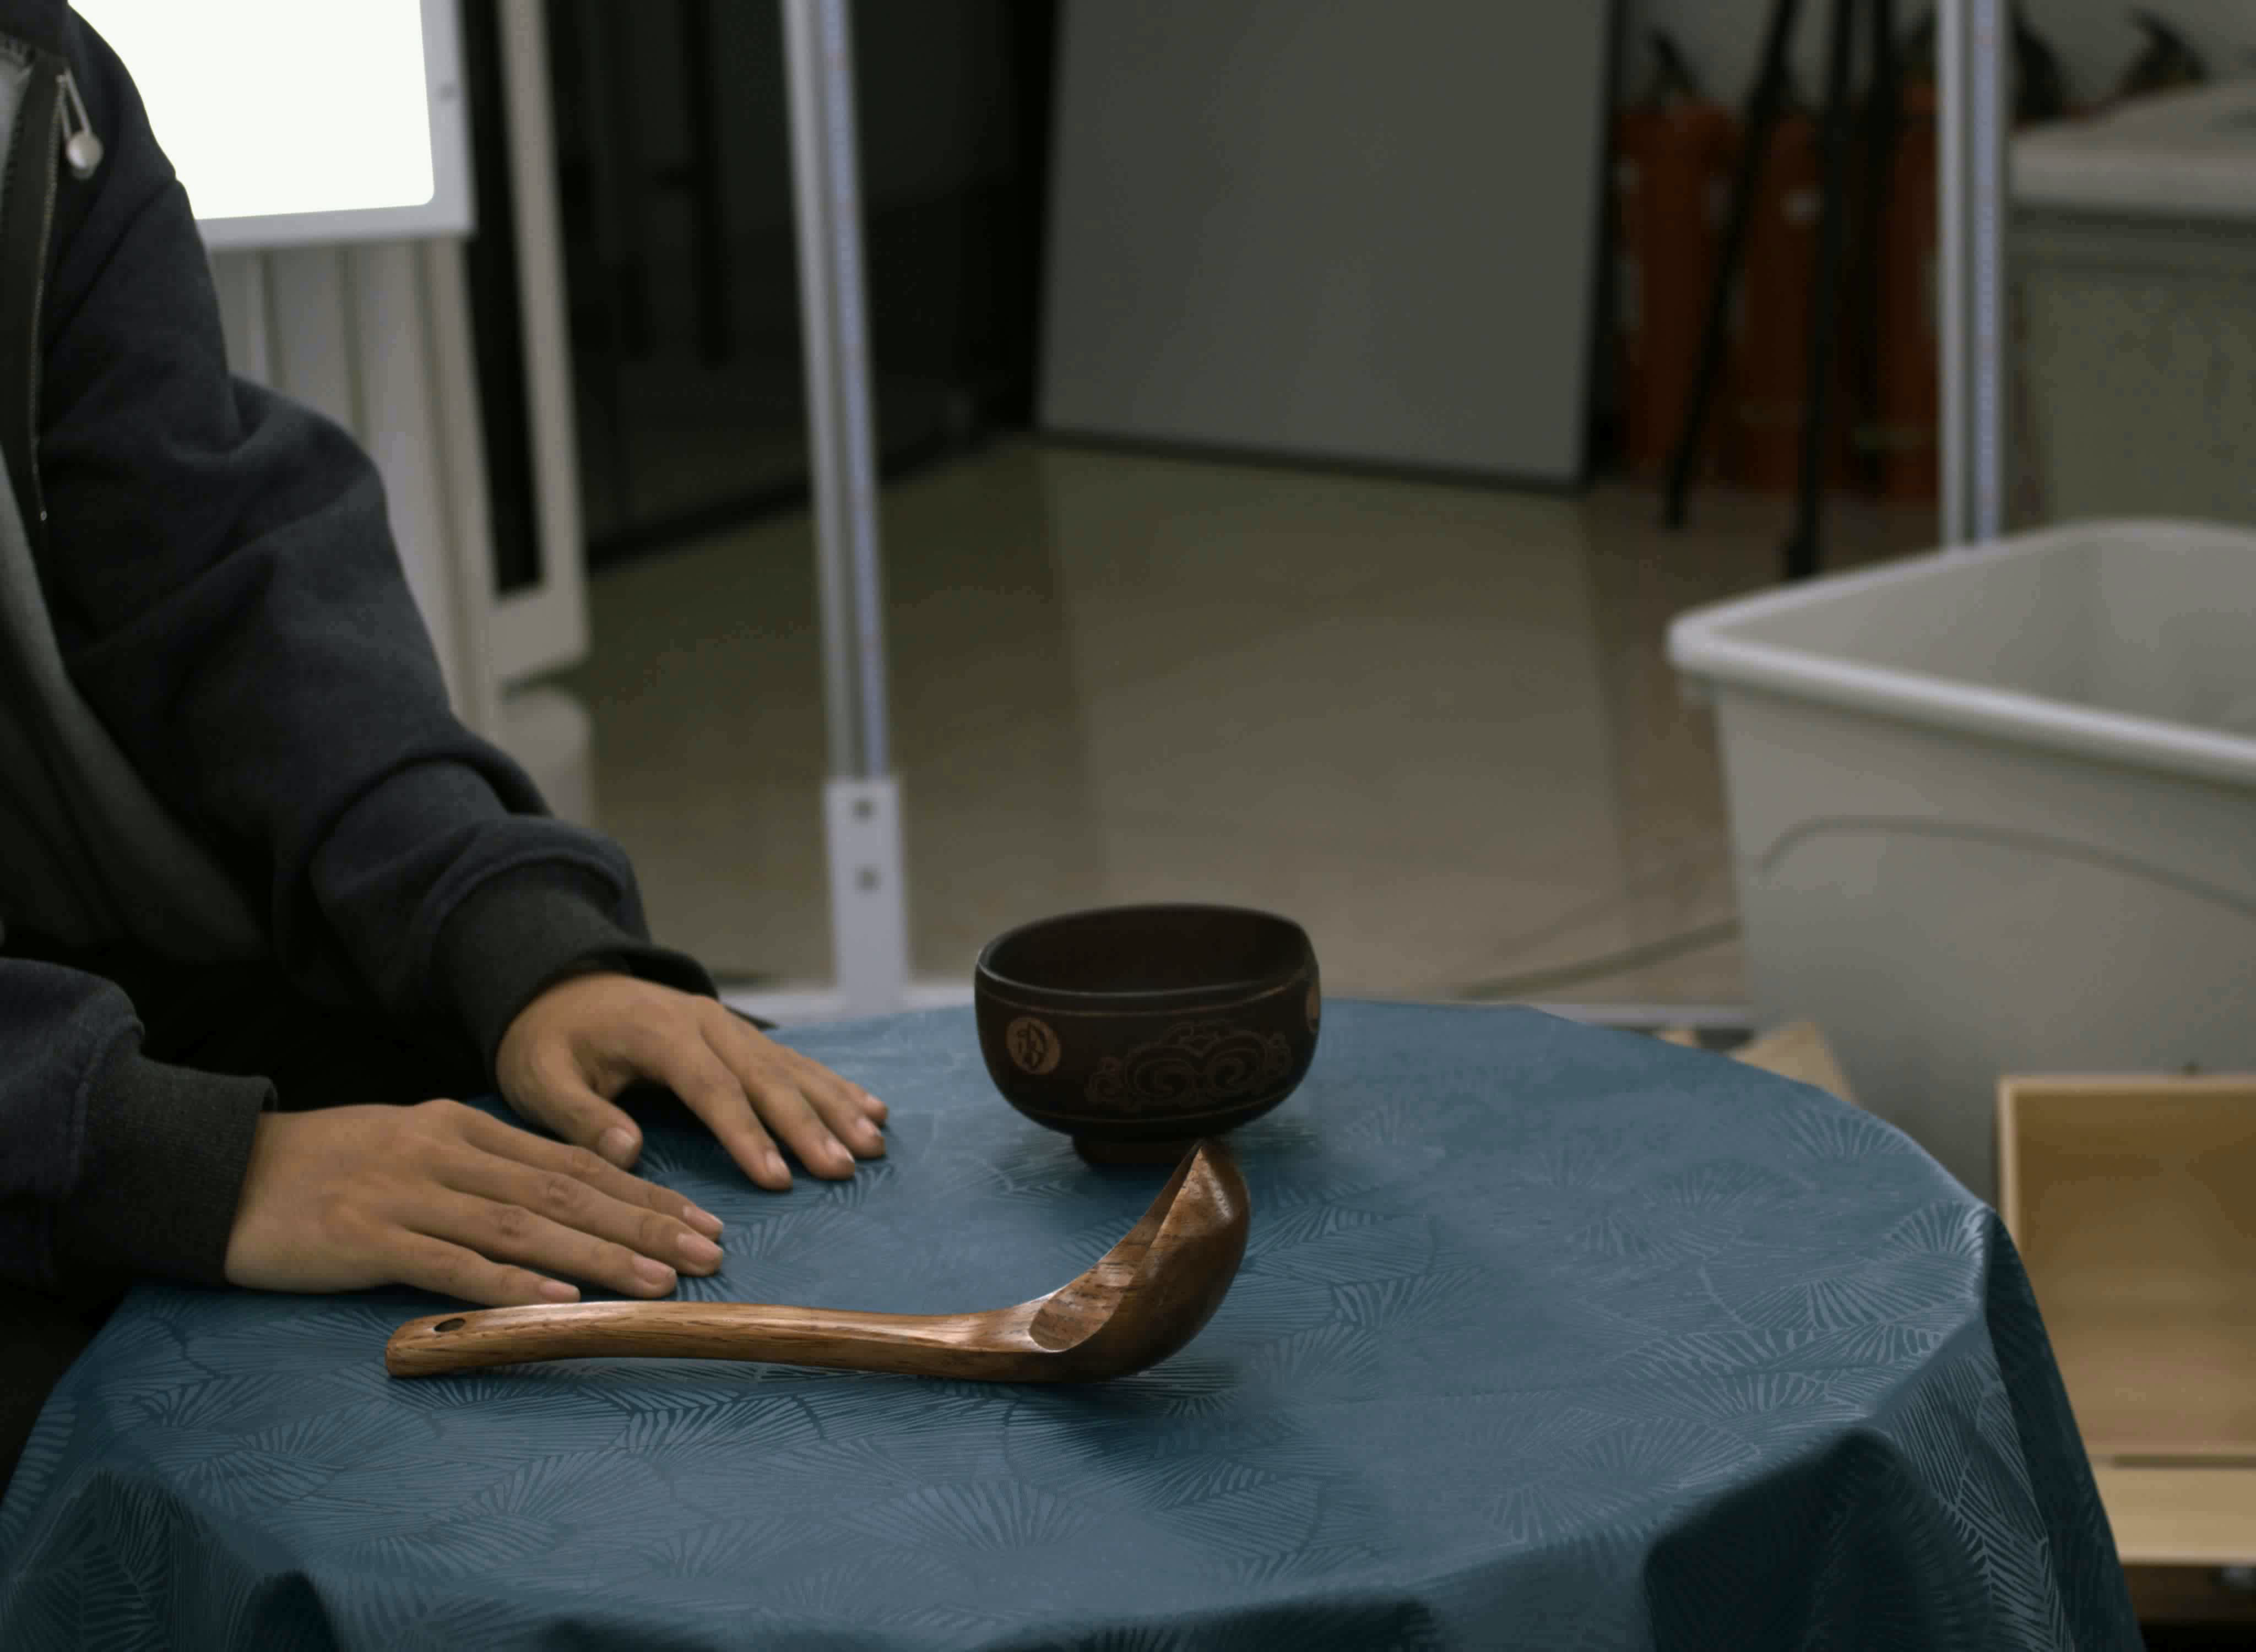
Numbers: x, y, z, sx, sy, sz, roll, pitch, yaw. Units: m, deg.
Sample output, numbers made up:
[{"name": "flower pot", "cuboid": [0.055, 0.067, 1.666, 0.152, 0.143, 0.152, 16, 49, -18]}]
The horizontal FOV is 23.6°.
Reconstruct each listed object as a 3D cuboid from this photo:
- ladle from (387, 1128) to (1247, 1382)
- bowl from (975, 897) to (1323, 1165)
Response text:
[{"name": "ladle", "cuboid": [-0.096, 0.127, 1.605, 0.273, 0.077, 0.081, 0, 19, 16]}, {"name": "bowl", "cuboid": [0.008, 0.072, 1.811, 0.116, 0.070, 0.118, -4, 14, 0]}]
